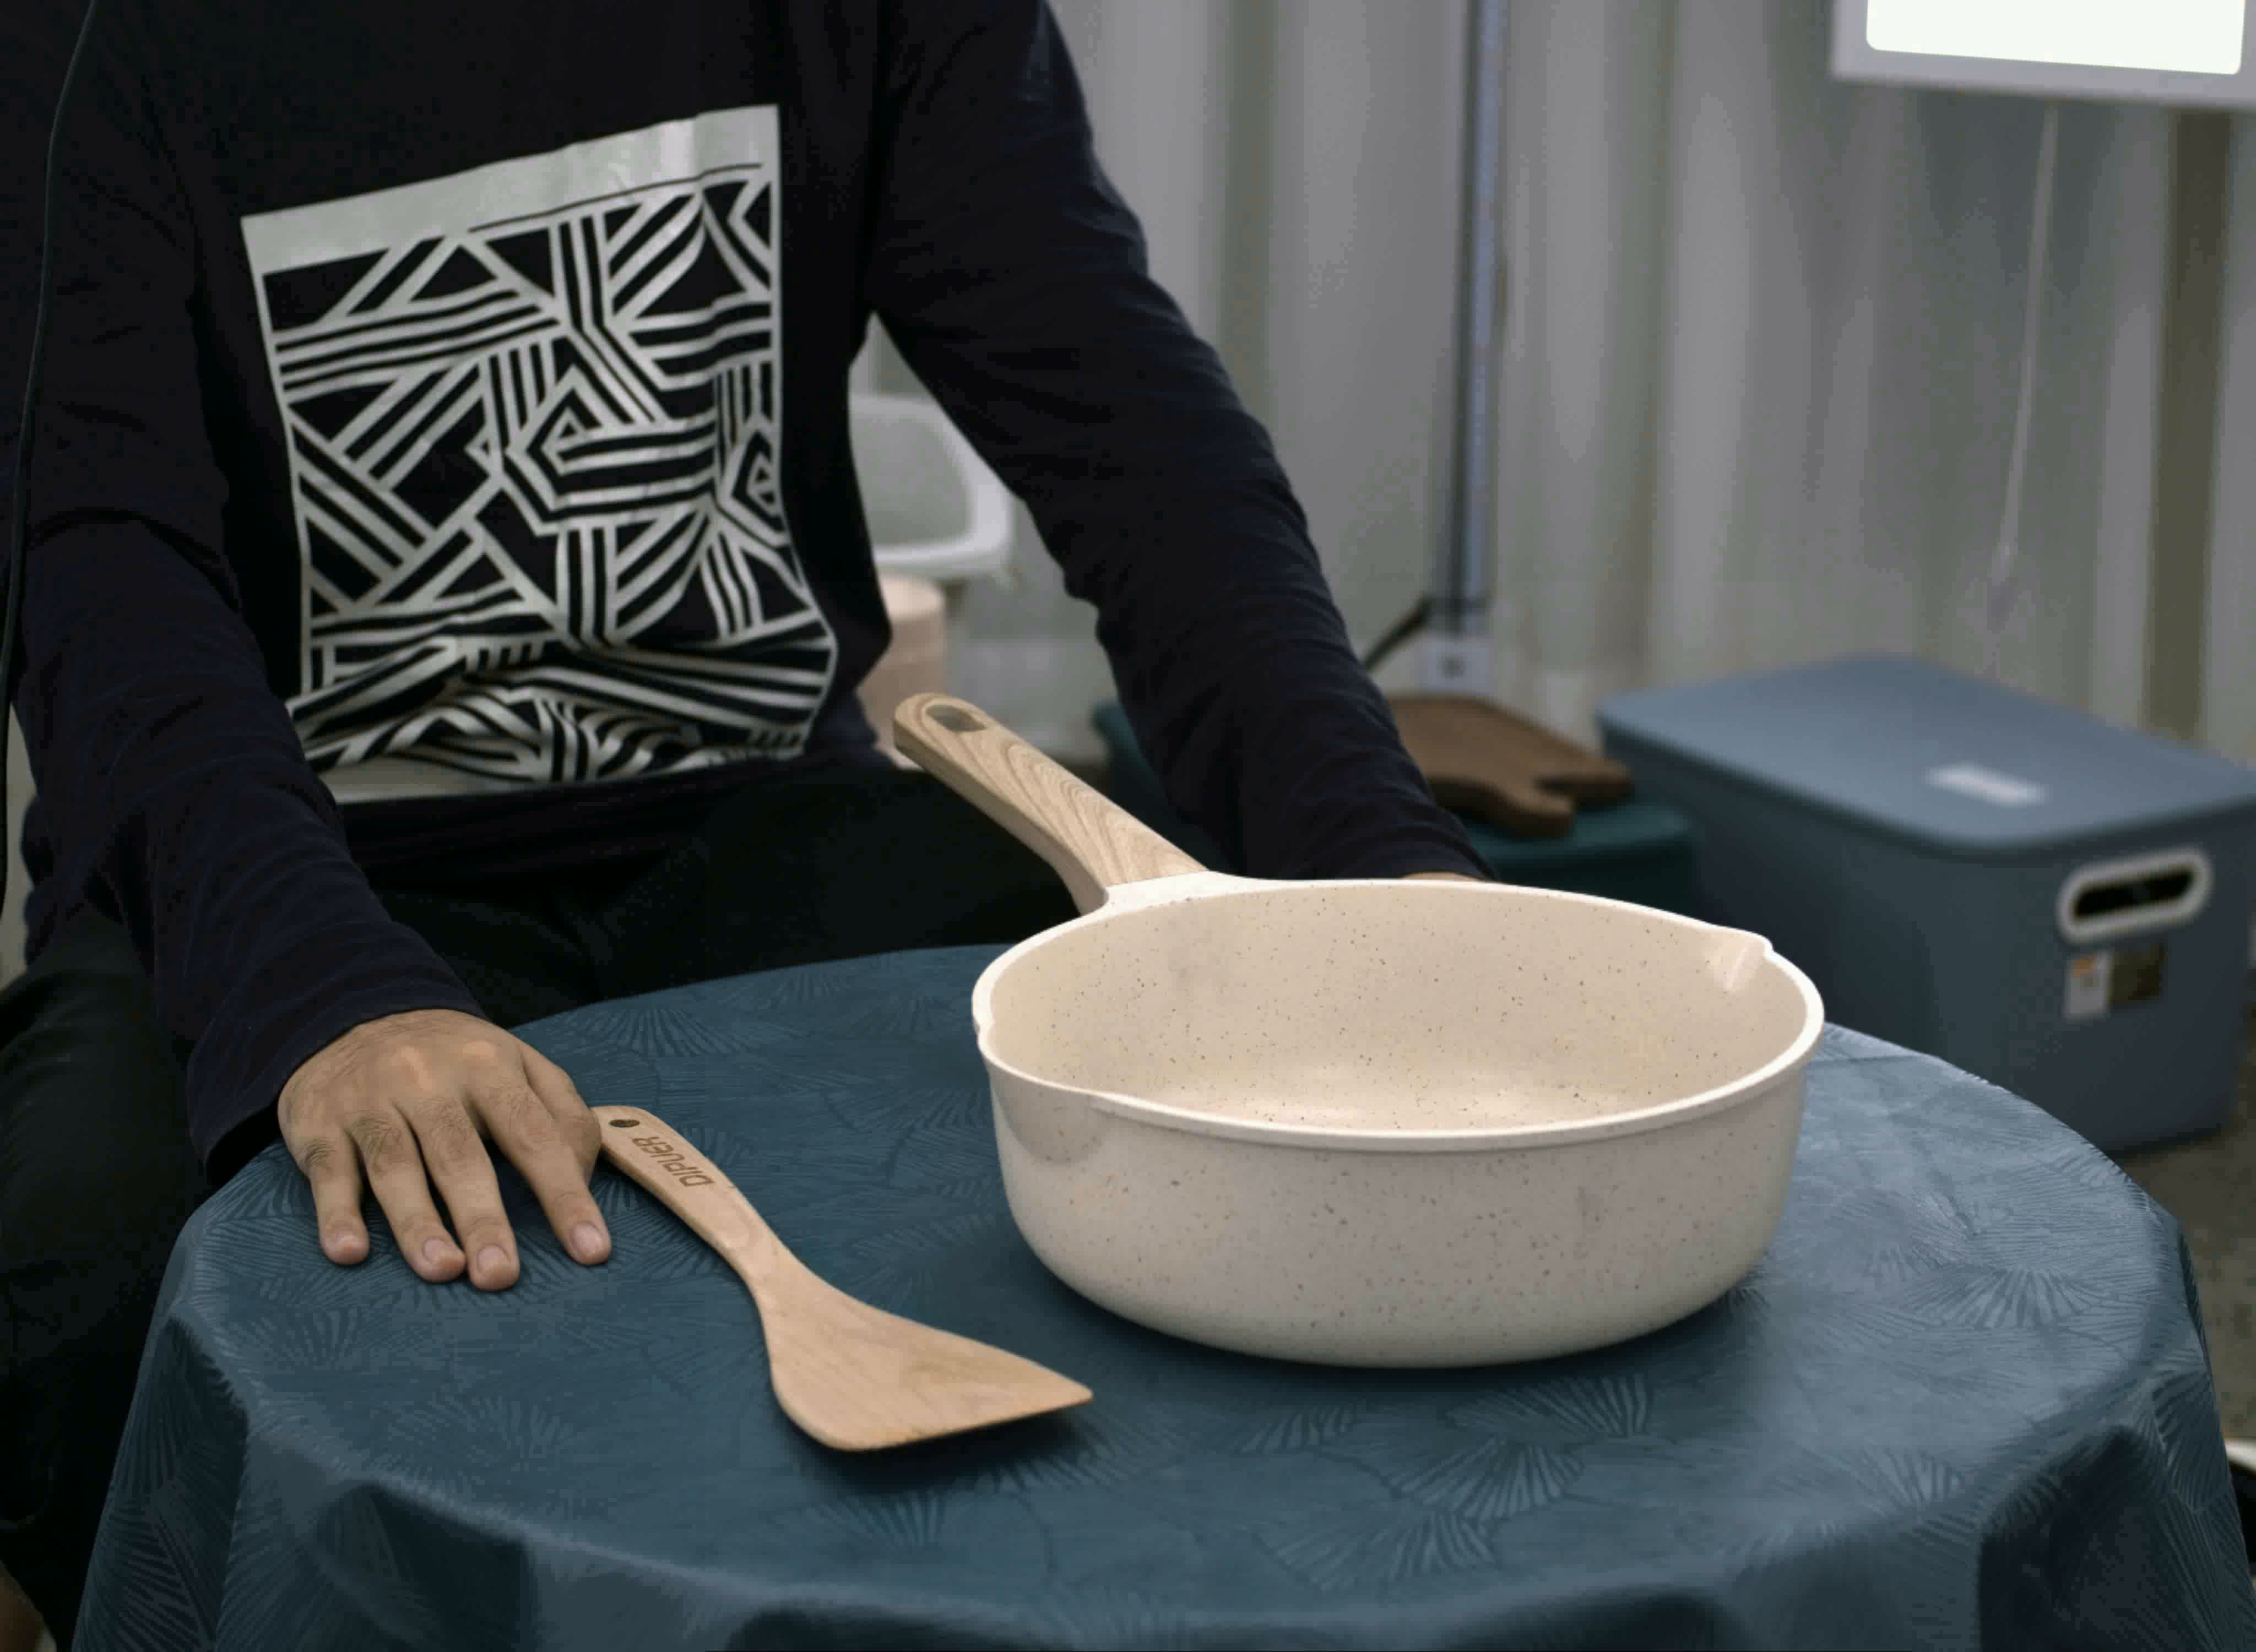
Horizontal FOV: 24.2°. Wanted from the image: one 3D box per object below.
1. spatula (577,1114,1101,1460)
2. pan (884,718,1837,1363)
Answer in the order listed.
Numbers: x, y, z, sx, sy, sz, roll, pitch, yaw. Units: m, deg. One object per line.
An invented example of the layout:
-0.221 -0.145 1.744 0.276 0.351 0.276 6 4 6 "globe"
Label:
-0.101 0.130 1.543 0.080 0.016 0.324 -7 17 -23 "spatula"
0.038 0.061 1.638 0.264 0.103 0.429 -9 18 -29 "pan"
